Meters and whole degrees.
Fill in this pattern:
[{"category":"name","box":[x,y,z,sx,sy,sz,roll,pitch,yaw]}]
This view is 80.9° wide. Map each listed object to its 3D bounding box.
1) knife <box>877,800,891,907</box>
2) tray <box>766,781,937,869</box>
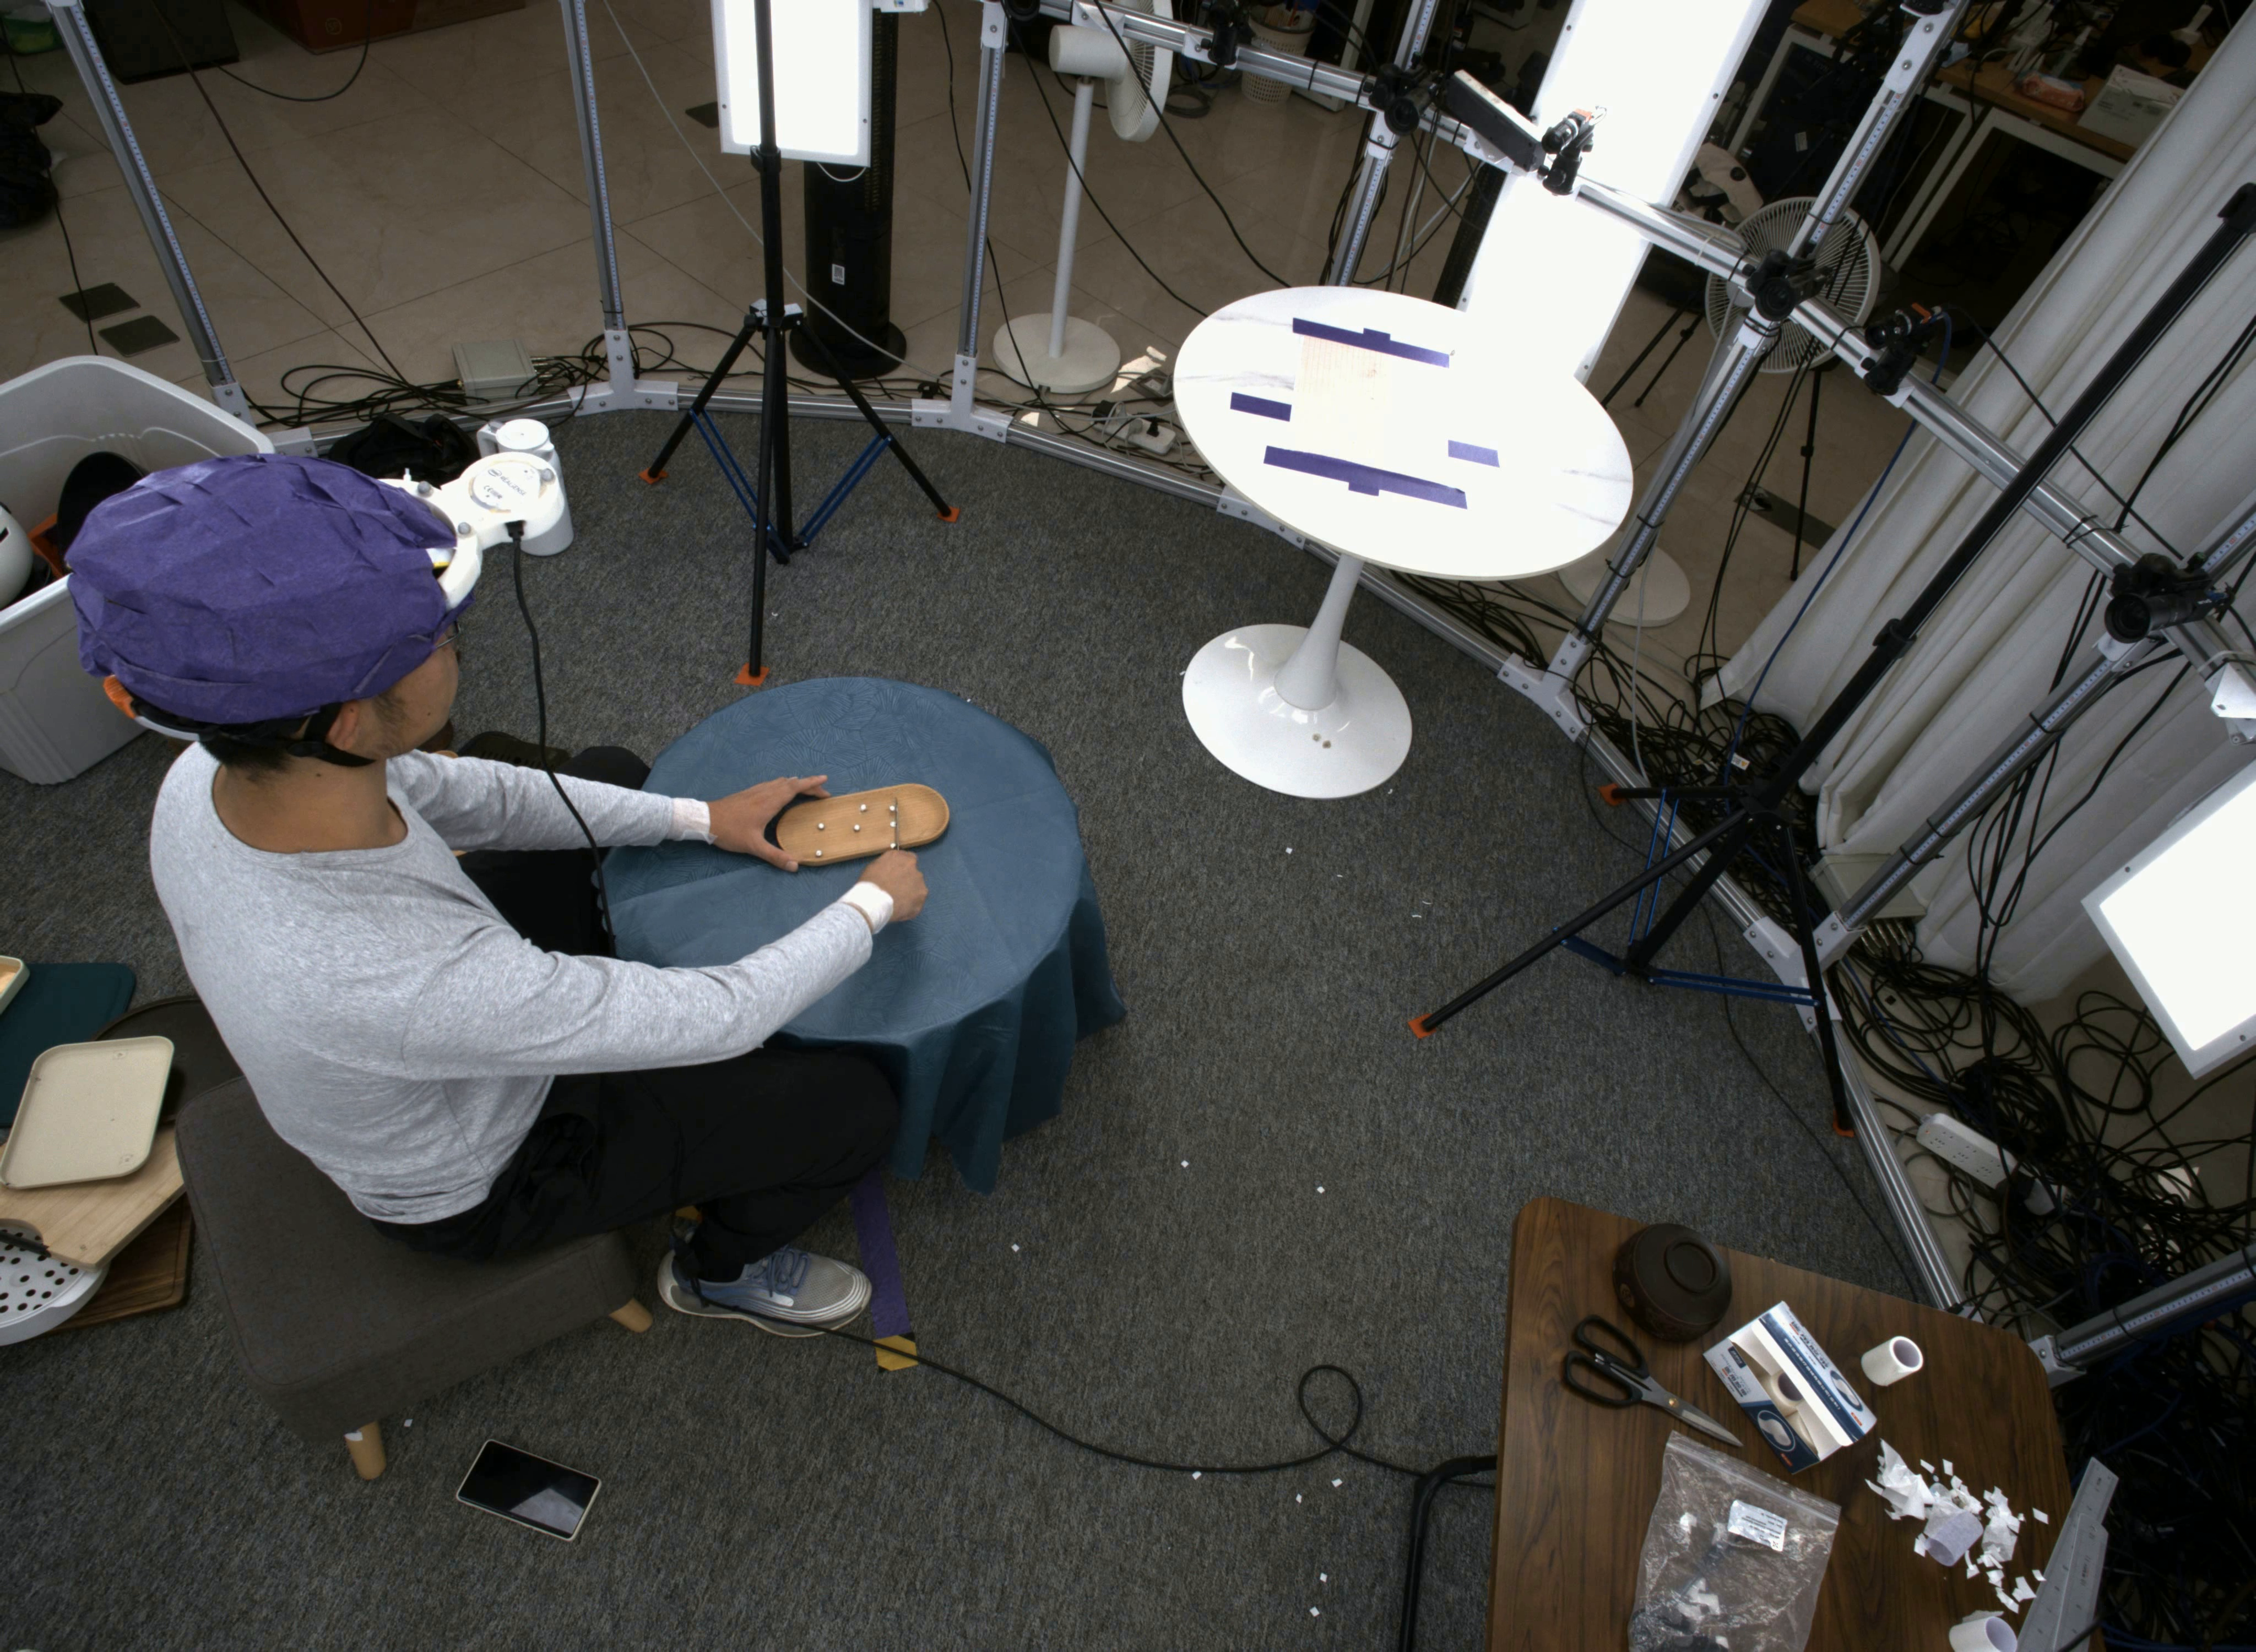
[{"category":"knife","box":[-0.317,0.026,1.683,0.016,0.025,0.231,5,33,-15]},{"category":"tray","box":[-0.369,-0.003,1.742,0.232,0.020,0.099,-14,60,-25]}]
